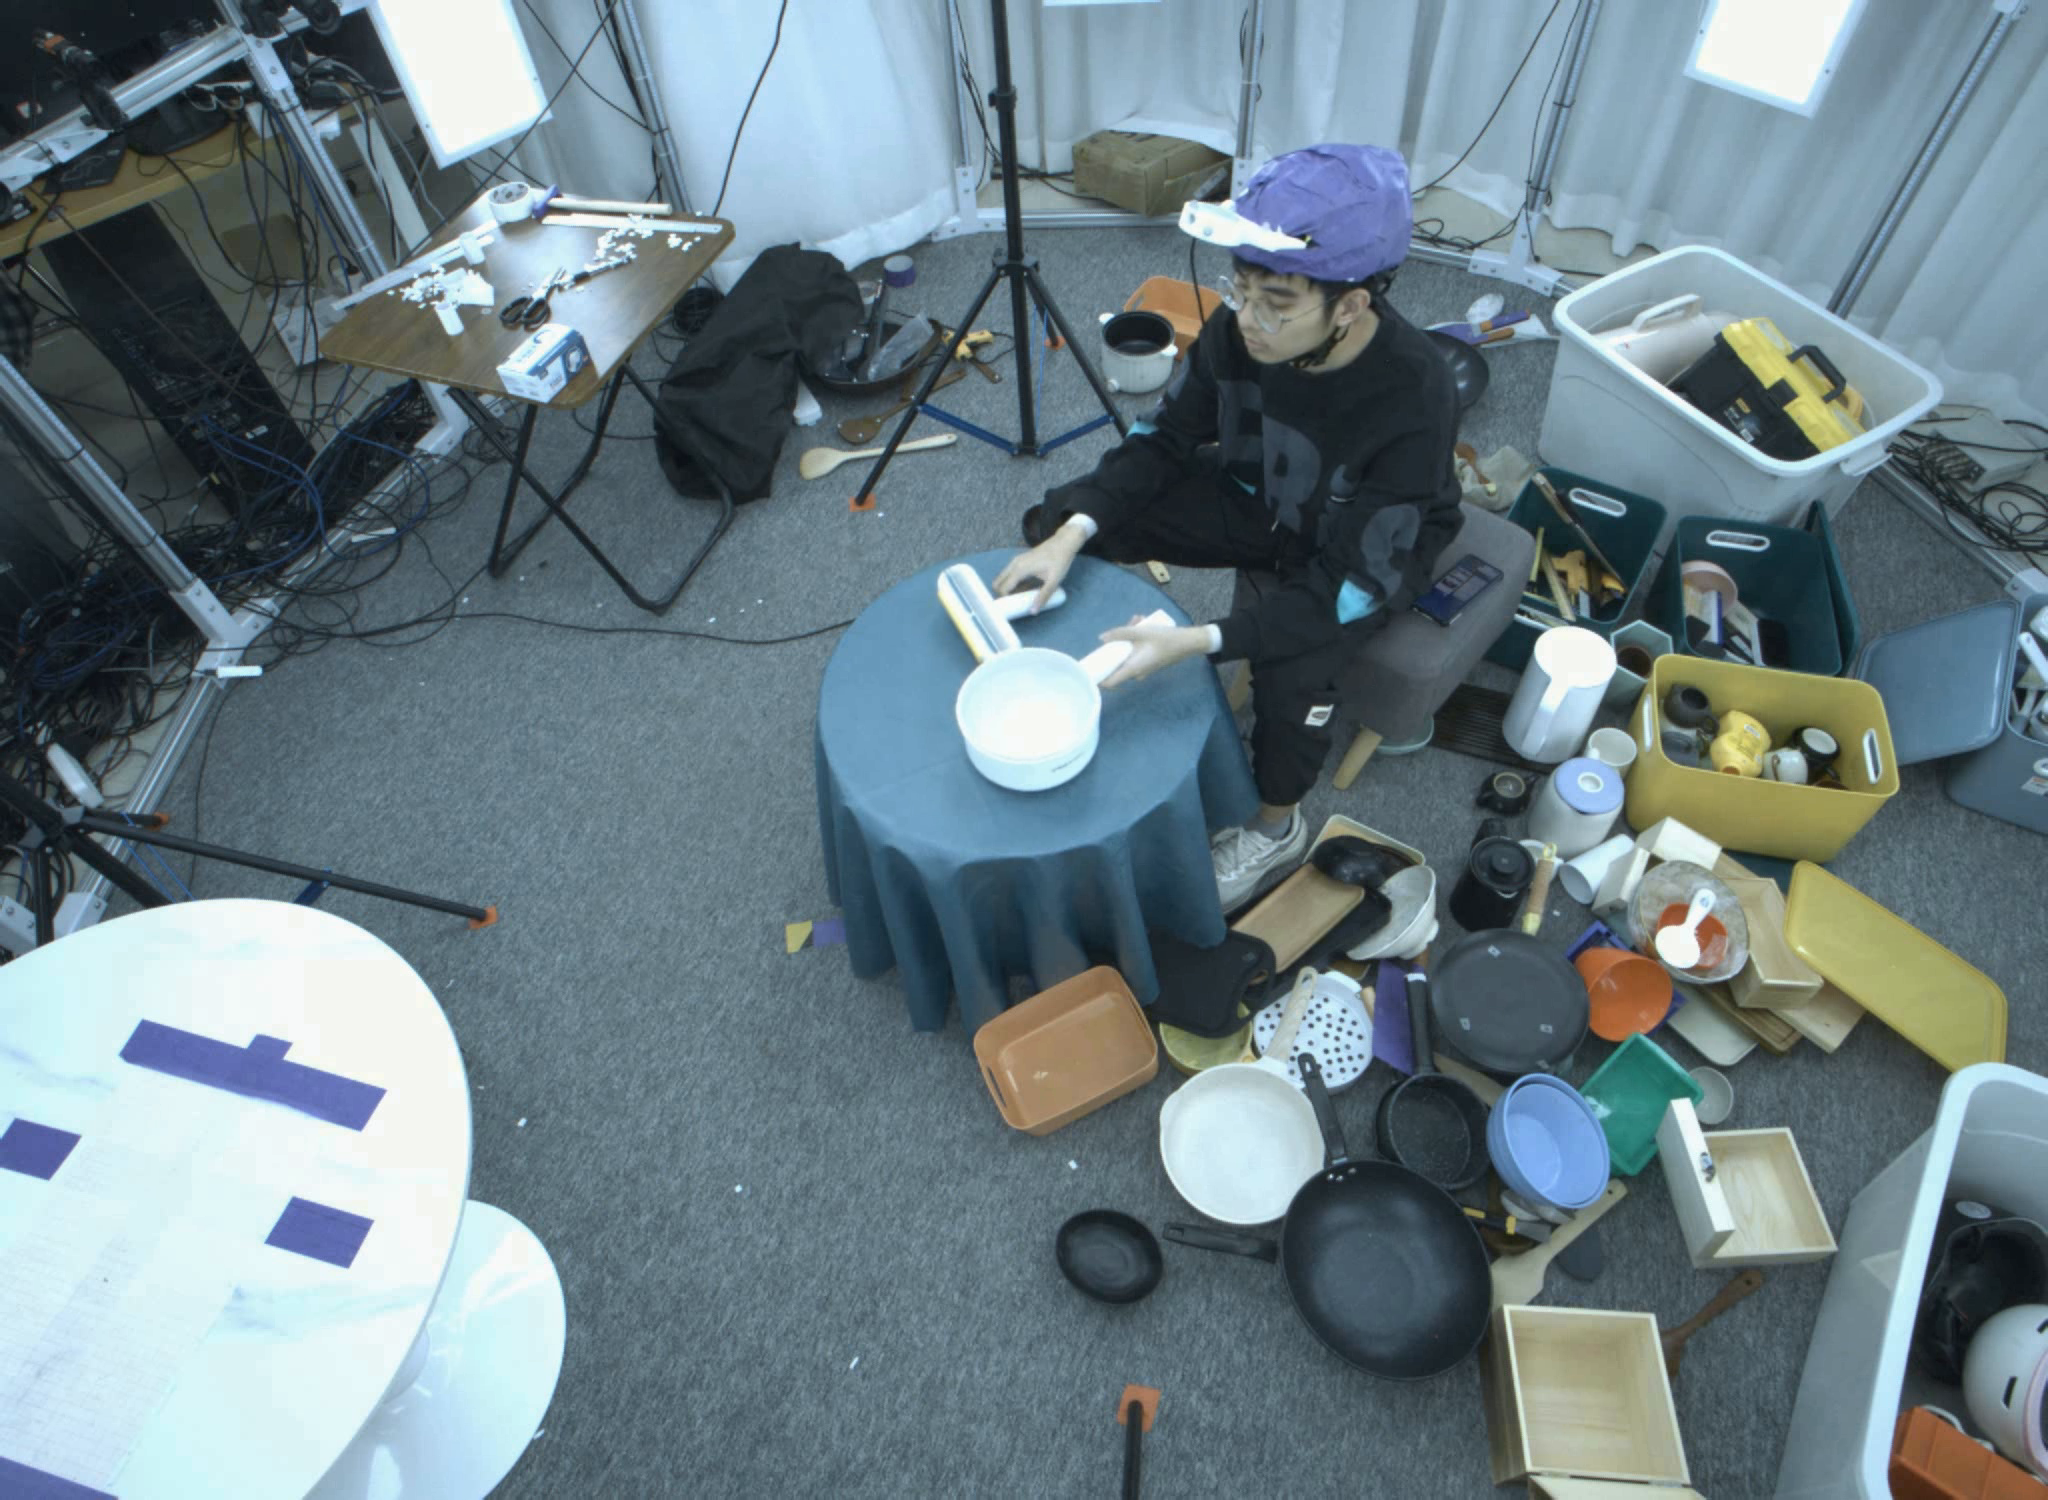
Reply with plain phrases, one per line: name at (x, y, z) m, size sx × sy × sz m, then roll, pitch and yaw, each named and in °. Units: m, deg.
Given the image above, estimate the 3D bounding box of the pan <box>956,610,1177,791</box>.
pan at (0.070, -0.079, 1.769) m, size 0.357 × 0.103 × 0.197 m, roll -33°, pitch 60°, yaw -19°

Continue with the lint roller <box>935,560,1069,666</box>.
lint roller at (-0.020, -0.225, 1.902) m, size 0.194 × 0.075 × 0.190 m, roll -22°, pitch 62°, yaw -15°
